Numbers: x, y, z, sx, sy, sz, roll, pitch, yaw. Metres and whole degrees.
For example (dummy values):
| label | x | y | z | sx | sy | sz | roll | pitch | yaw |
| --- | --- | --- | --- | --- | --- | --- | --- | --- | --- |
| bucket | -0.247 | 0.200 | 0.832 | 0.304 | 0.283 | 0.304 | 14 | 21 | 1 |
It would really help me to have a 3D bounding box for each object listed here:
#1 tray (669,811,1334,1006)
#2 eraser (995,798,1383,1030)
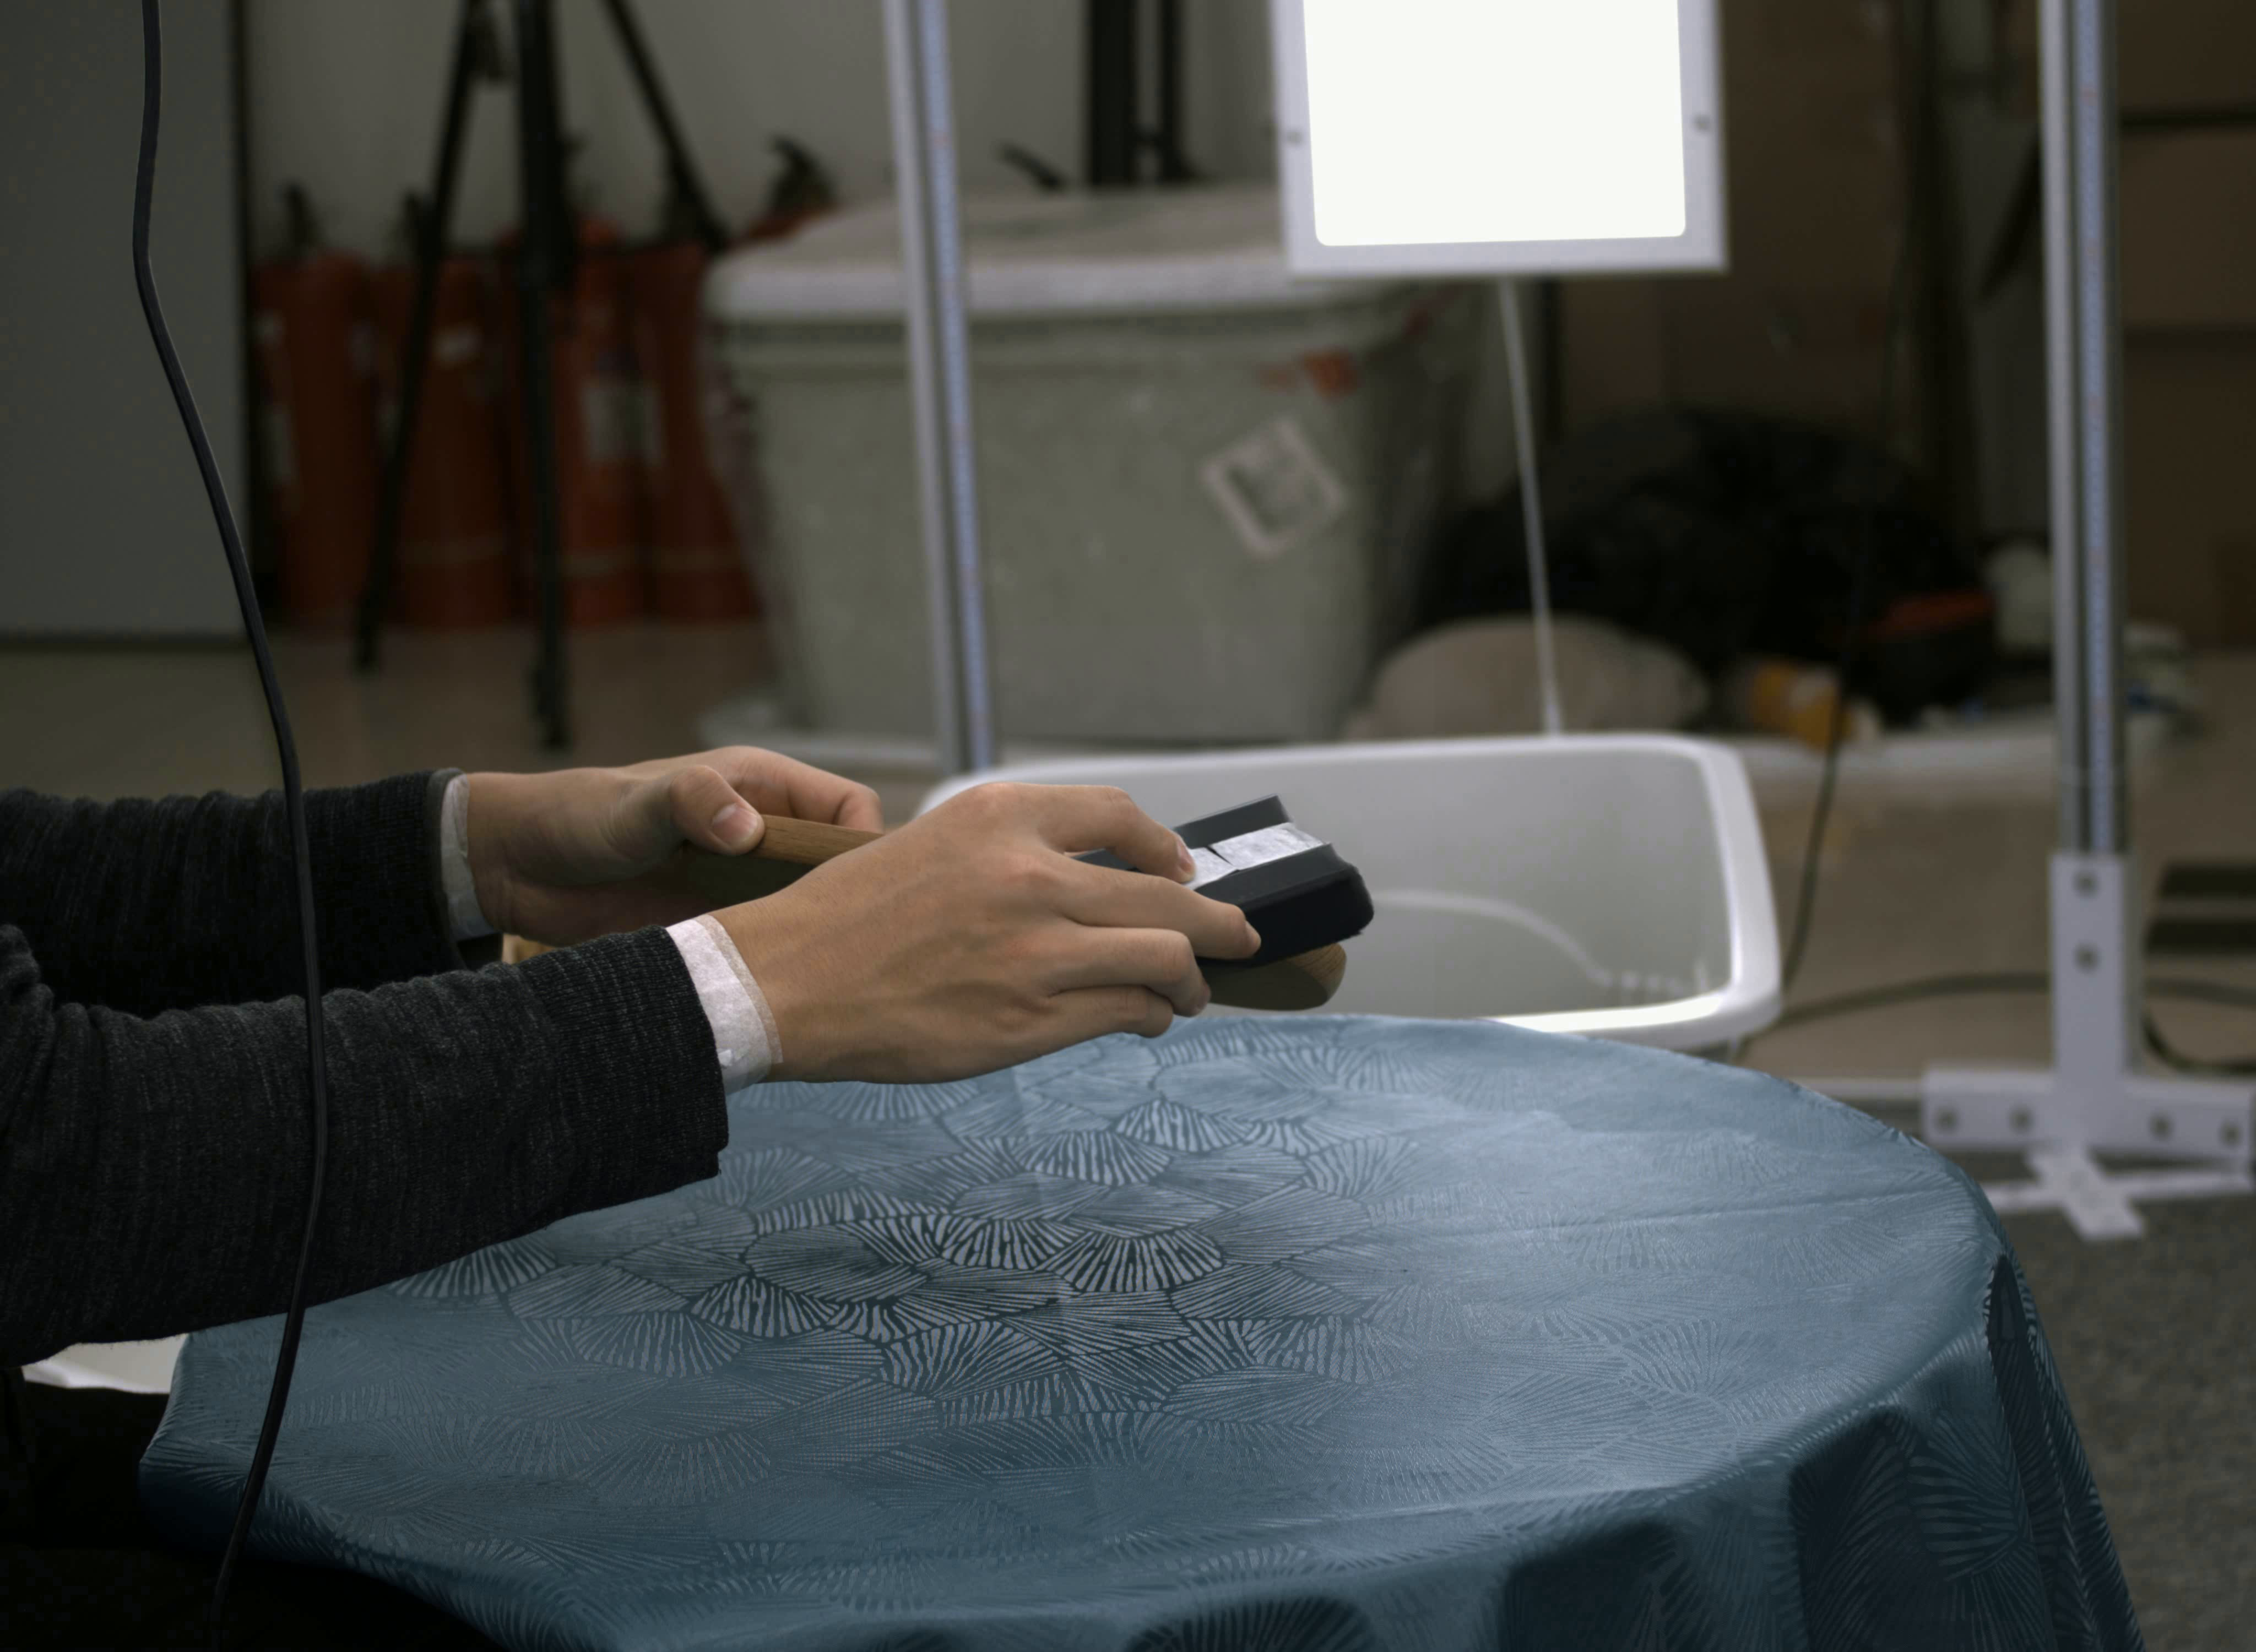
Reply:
| label | x | y | z | sx | sy | sz | roll | pitch | yaw |
| --- | --- | --- | --- | --- | --- | --- | --- | --- | --- |
| tray | -0.044 | 0.029 | 1.832 | 0.234 | 0.020 | 0.101 | 7 | -20 | 18 |
| eraser | 0.019 | 0.026 | 1.724 | 0.122 | 0.031 | 0.054 | -19 | 39 | -40 |
